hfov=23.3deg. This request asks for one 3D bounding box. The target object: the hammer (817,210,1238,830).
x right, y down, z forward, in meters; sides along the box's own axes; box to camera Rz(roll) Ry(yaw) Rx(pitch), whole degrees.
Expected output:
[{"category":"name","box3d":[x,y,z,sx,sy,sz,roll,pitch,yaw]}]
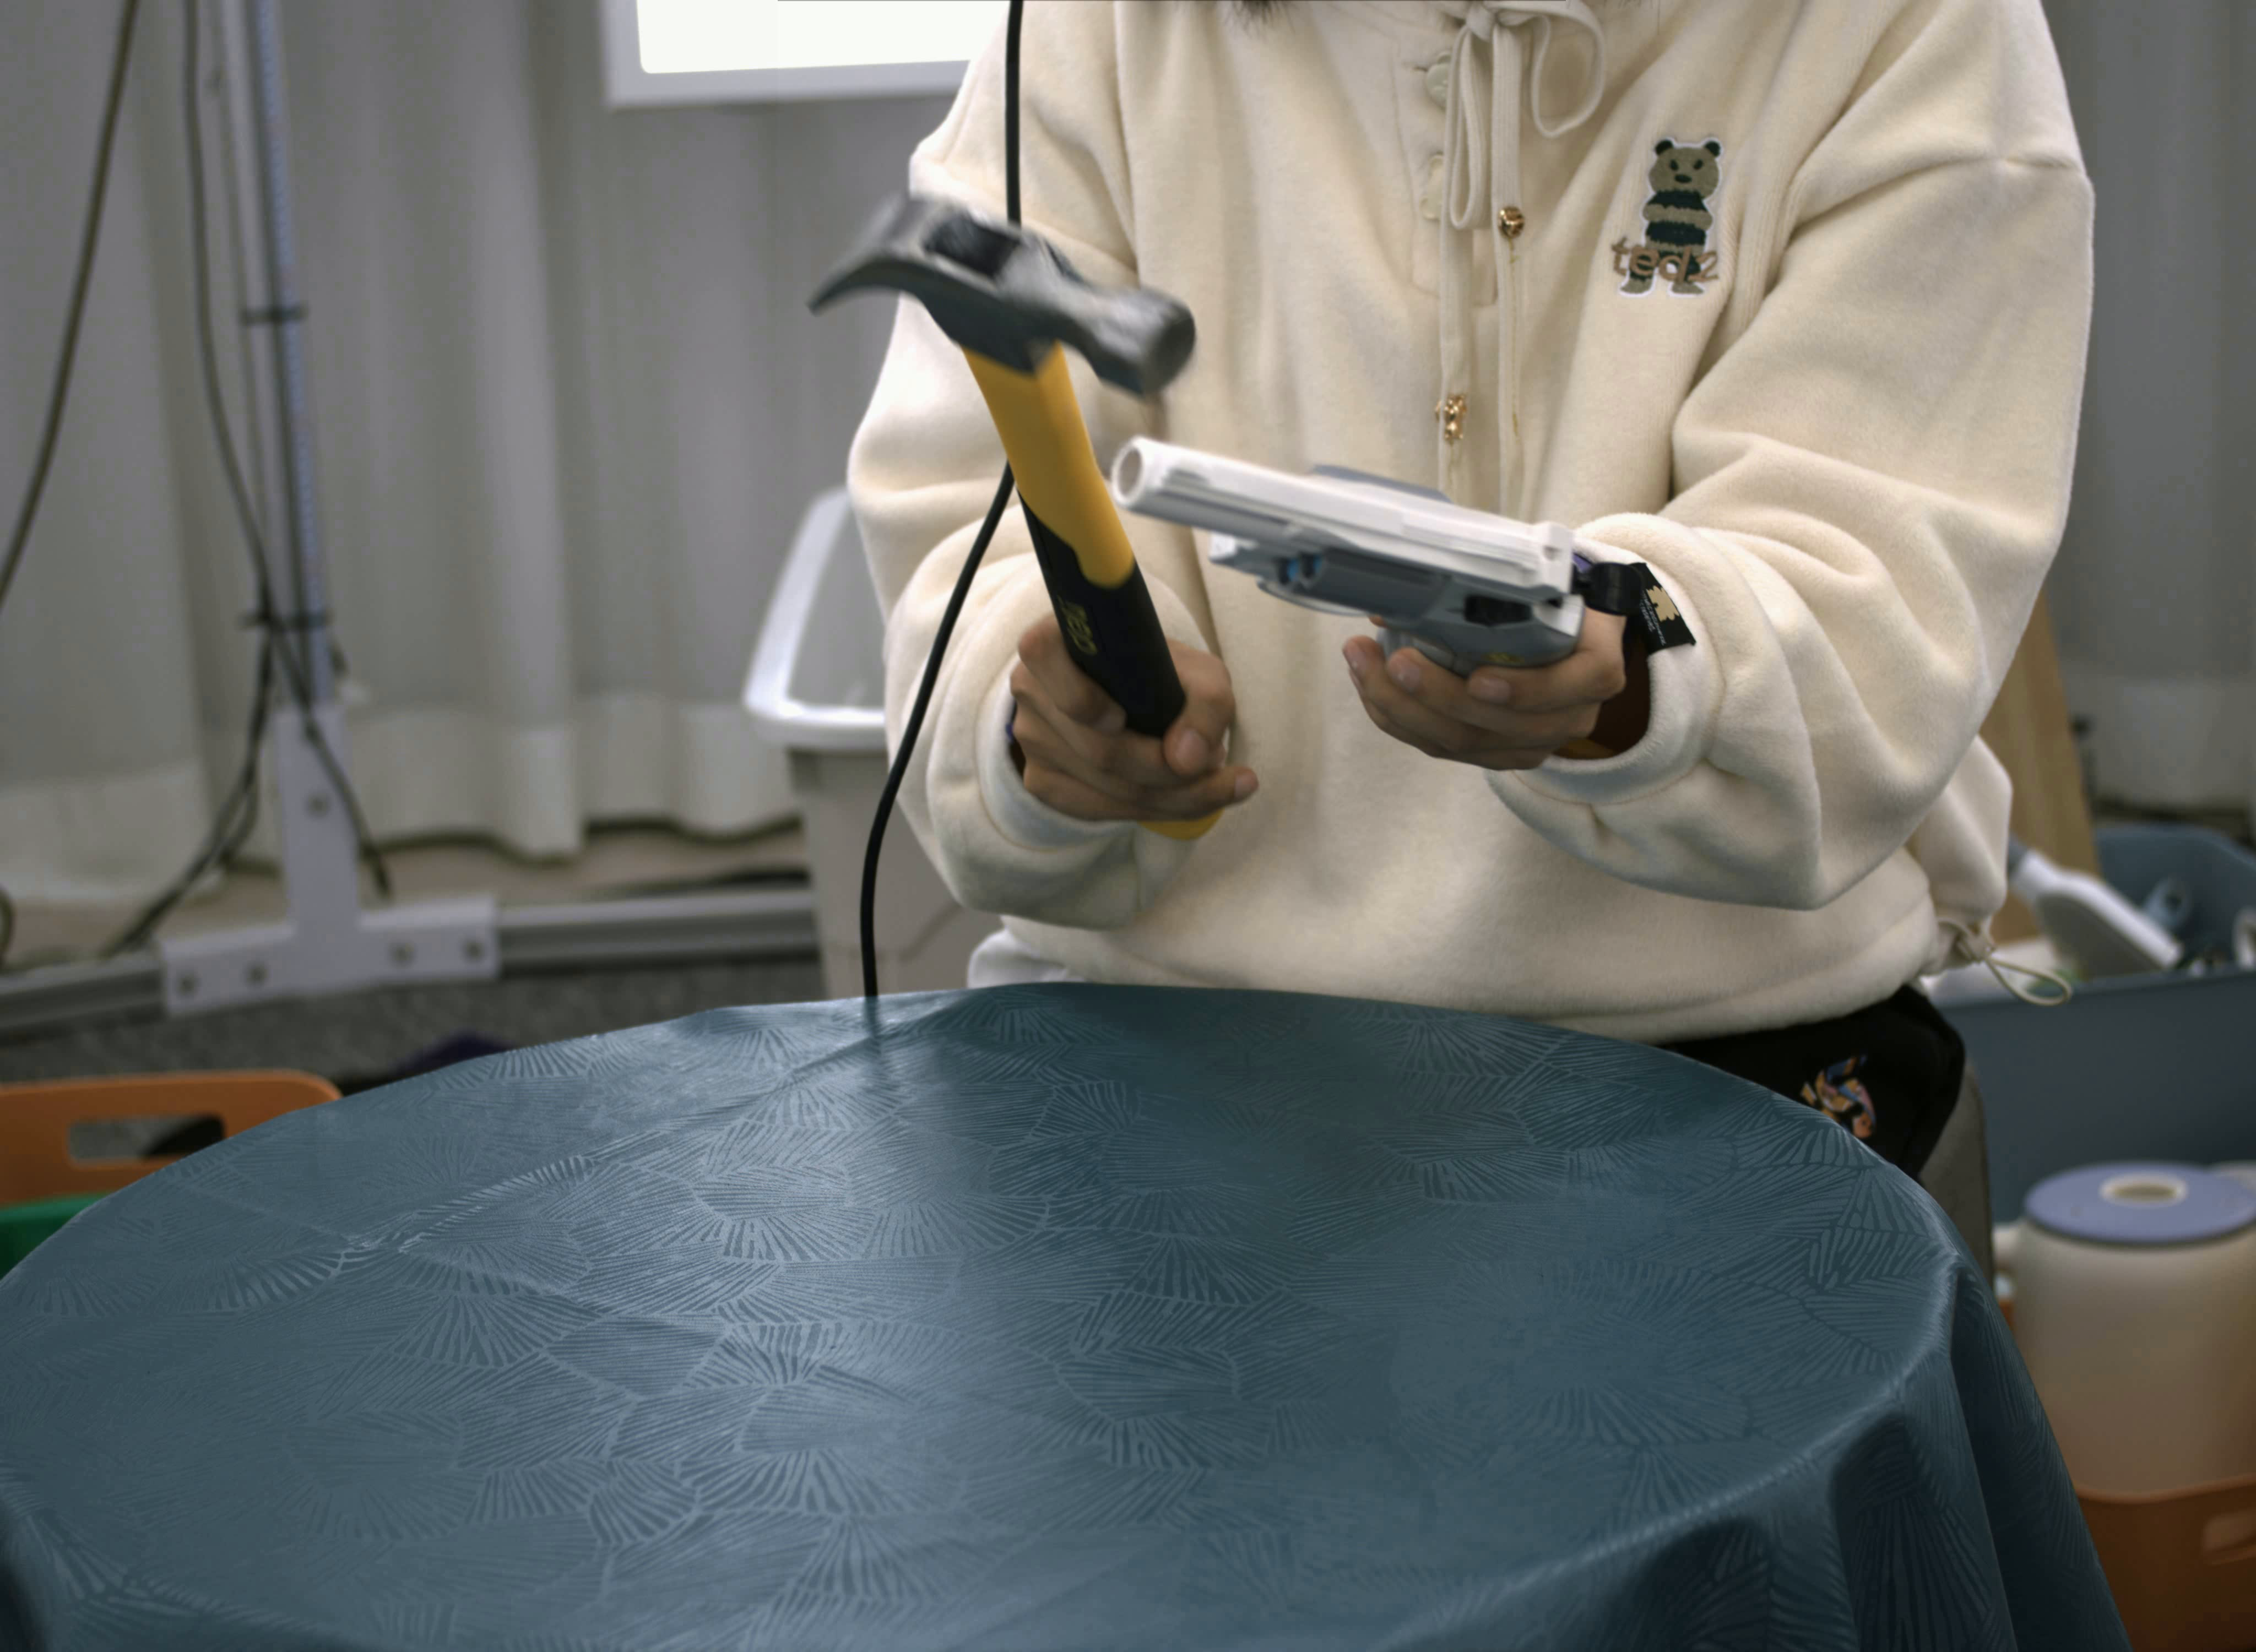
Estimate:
[{"category":"hammer","box3d":[-0.010,-0.088,1.719,0.132,0.032,0.334,24,-20,22]}]

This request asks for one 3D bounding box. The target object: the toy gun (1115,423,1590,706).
[{"category":"toy gun","box3d":[0.063,-0.077,1.584,0.207,0.039,0.142,14,-11,-30]}]
